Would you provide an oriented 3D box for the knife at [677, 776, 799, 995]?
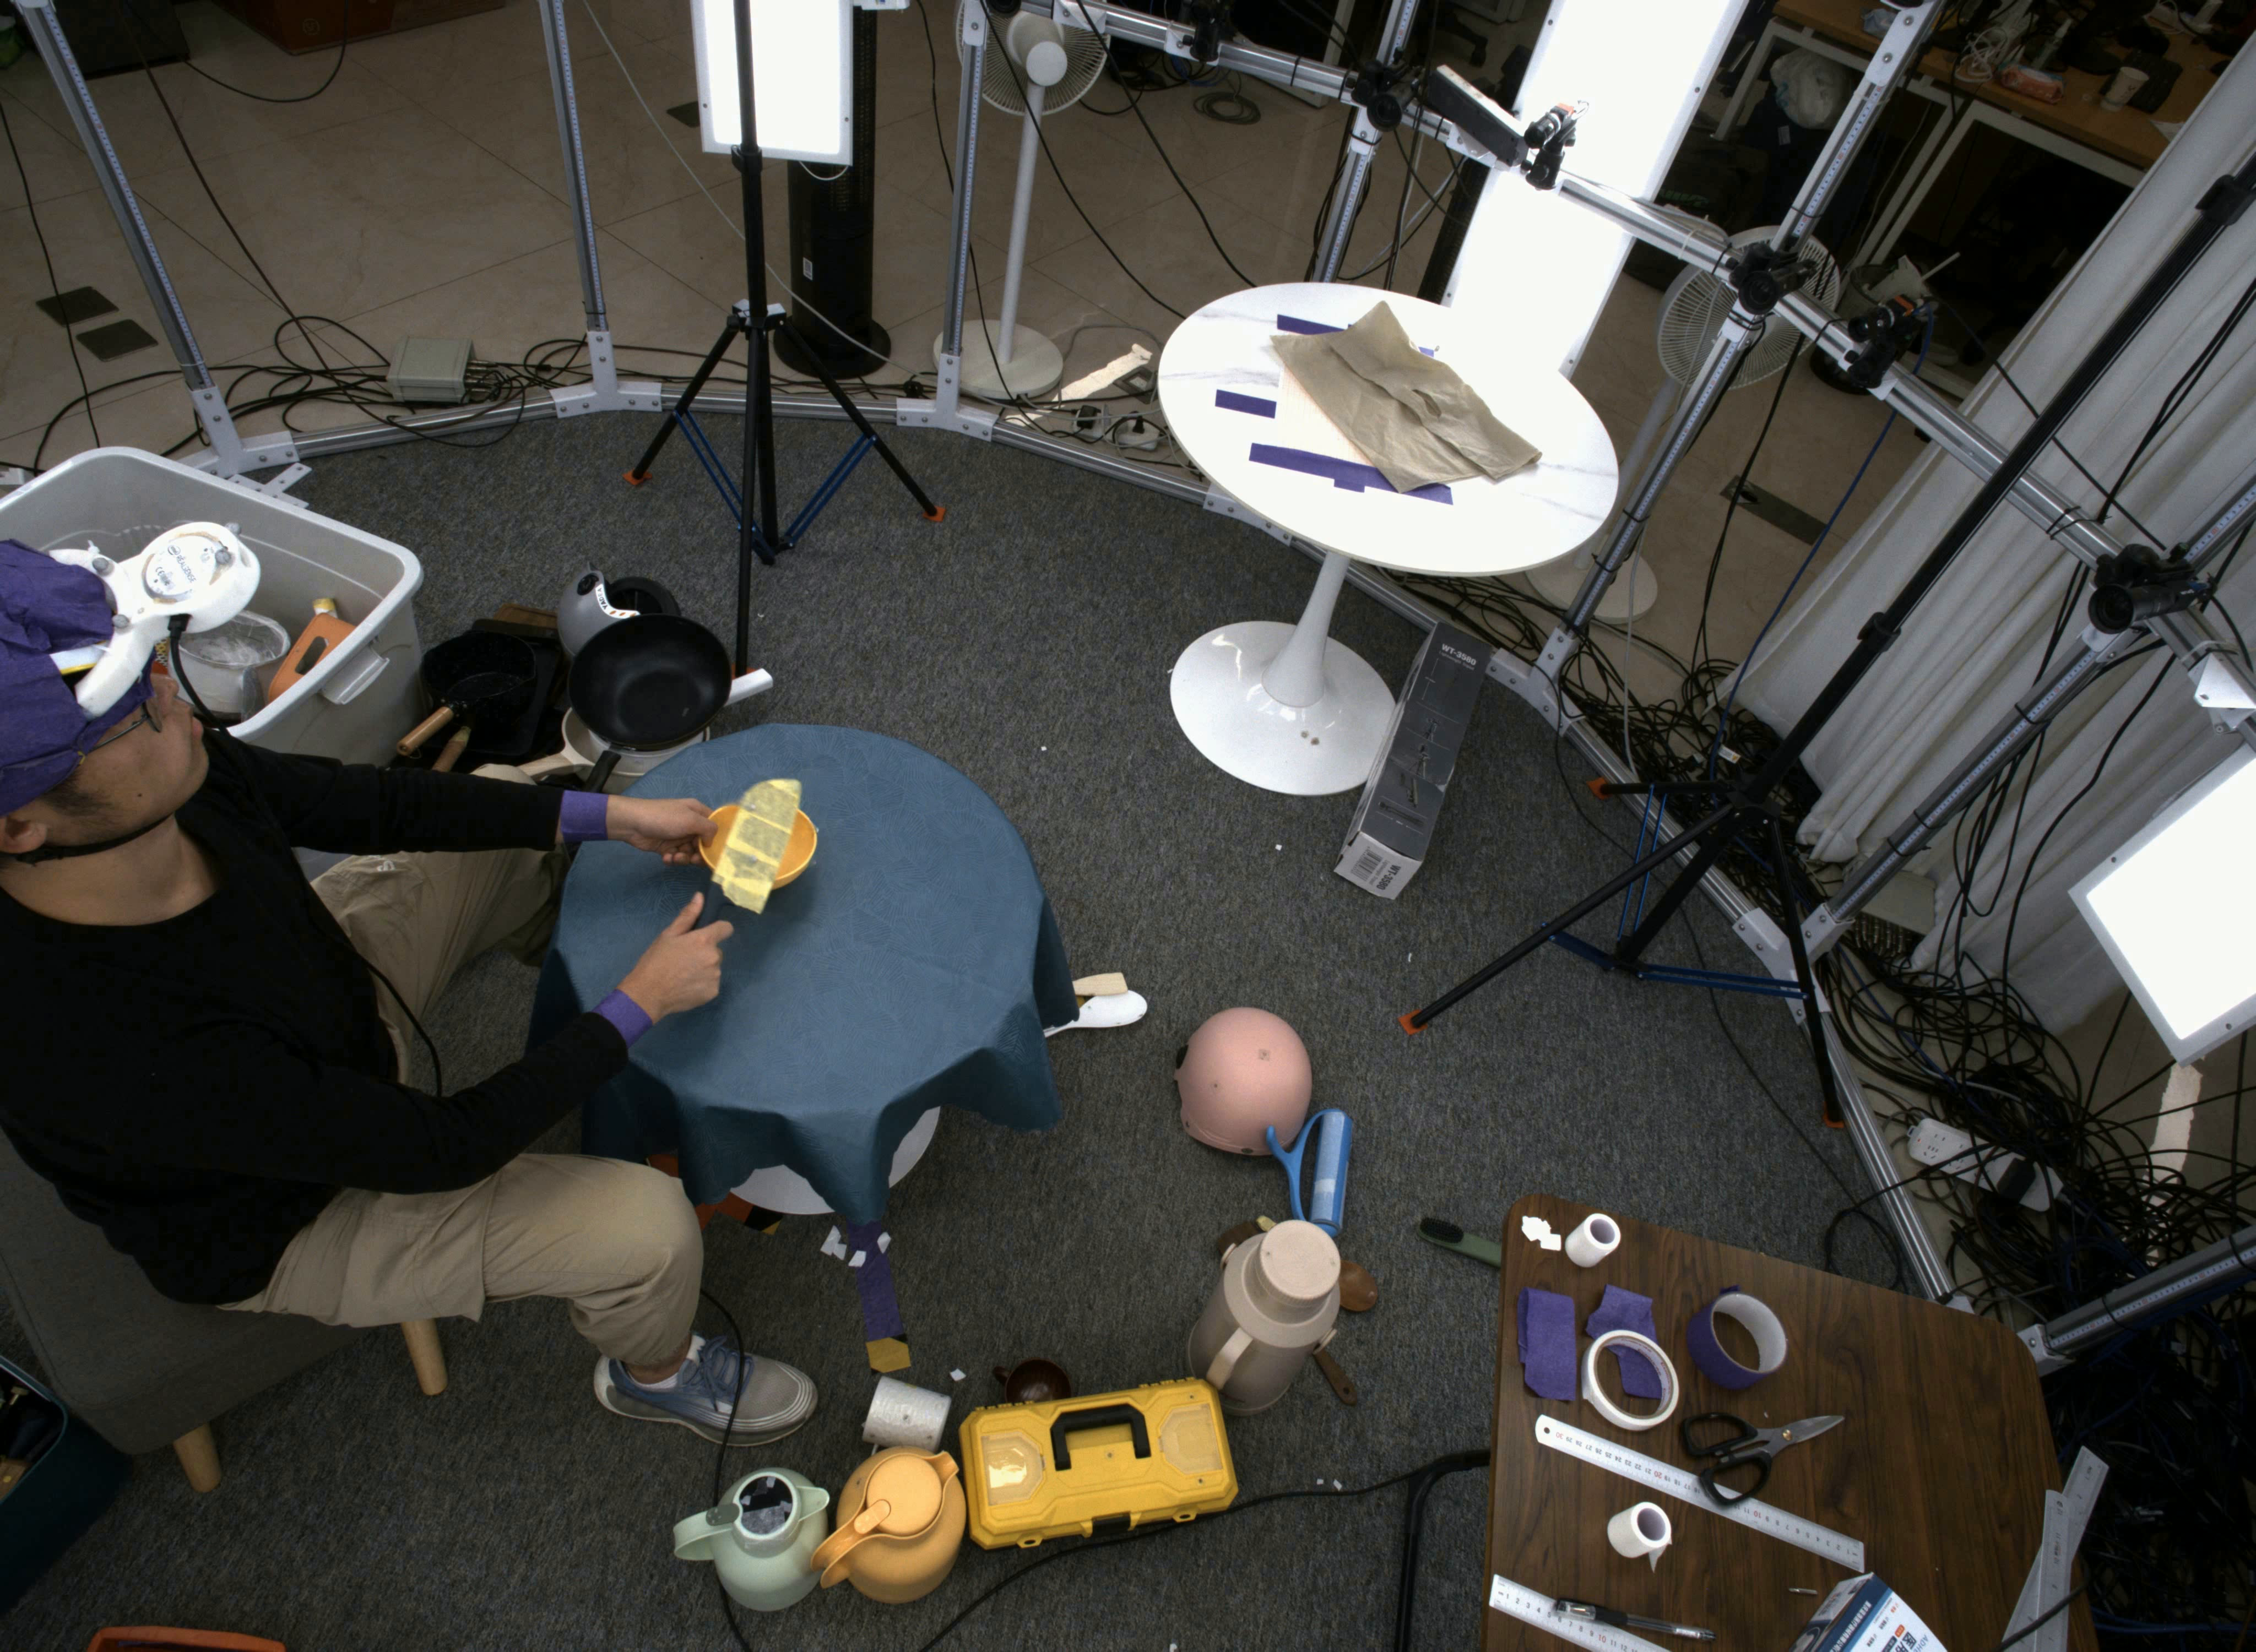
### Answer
[{"bbox_3d":[-0.462,0.068,1.538,0.083,0.026,0.289,31,68,-31],"label":"knife"}]

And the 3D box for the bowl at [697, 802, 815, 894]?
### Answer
[{"bbox_3d":[-0.466,0.037,1.628,0.145,0.061,0.142,8,44,-7],"label":"bowl"}]
